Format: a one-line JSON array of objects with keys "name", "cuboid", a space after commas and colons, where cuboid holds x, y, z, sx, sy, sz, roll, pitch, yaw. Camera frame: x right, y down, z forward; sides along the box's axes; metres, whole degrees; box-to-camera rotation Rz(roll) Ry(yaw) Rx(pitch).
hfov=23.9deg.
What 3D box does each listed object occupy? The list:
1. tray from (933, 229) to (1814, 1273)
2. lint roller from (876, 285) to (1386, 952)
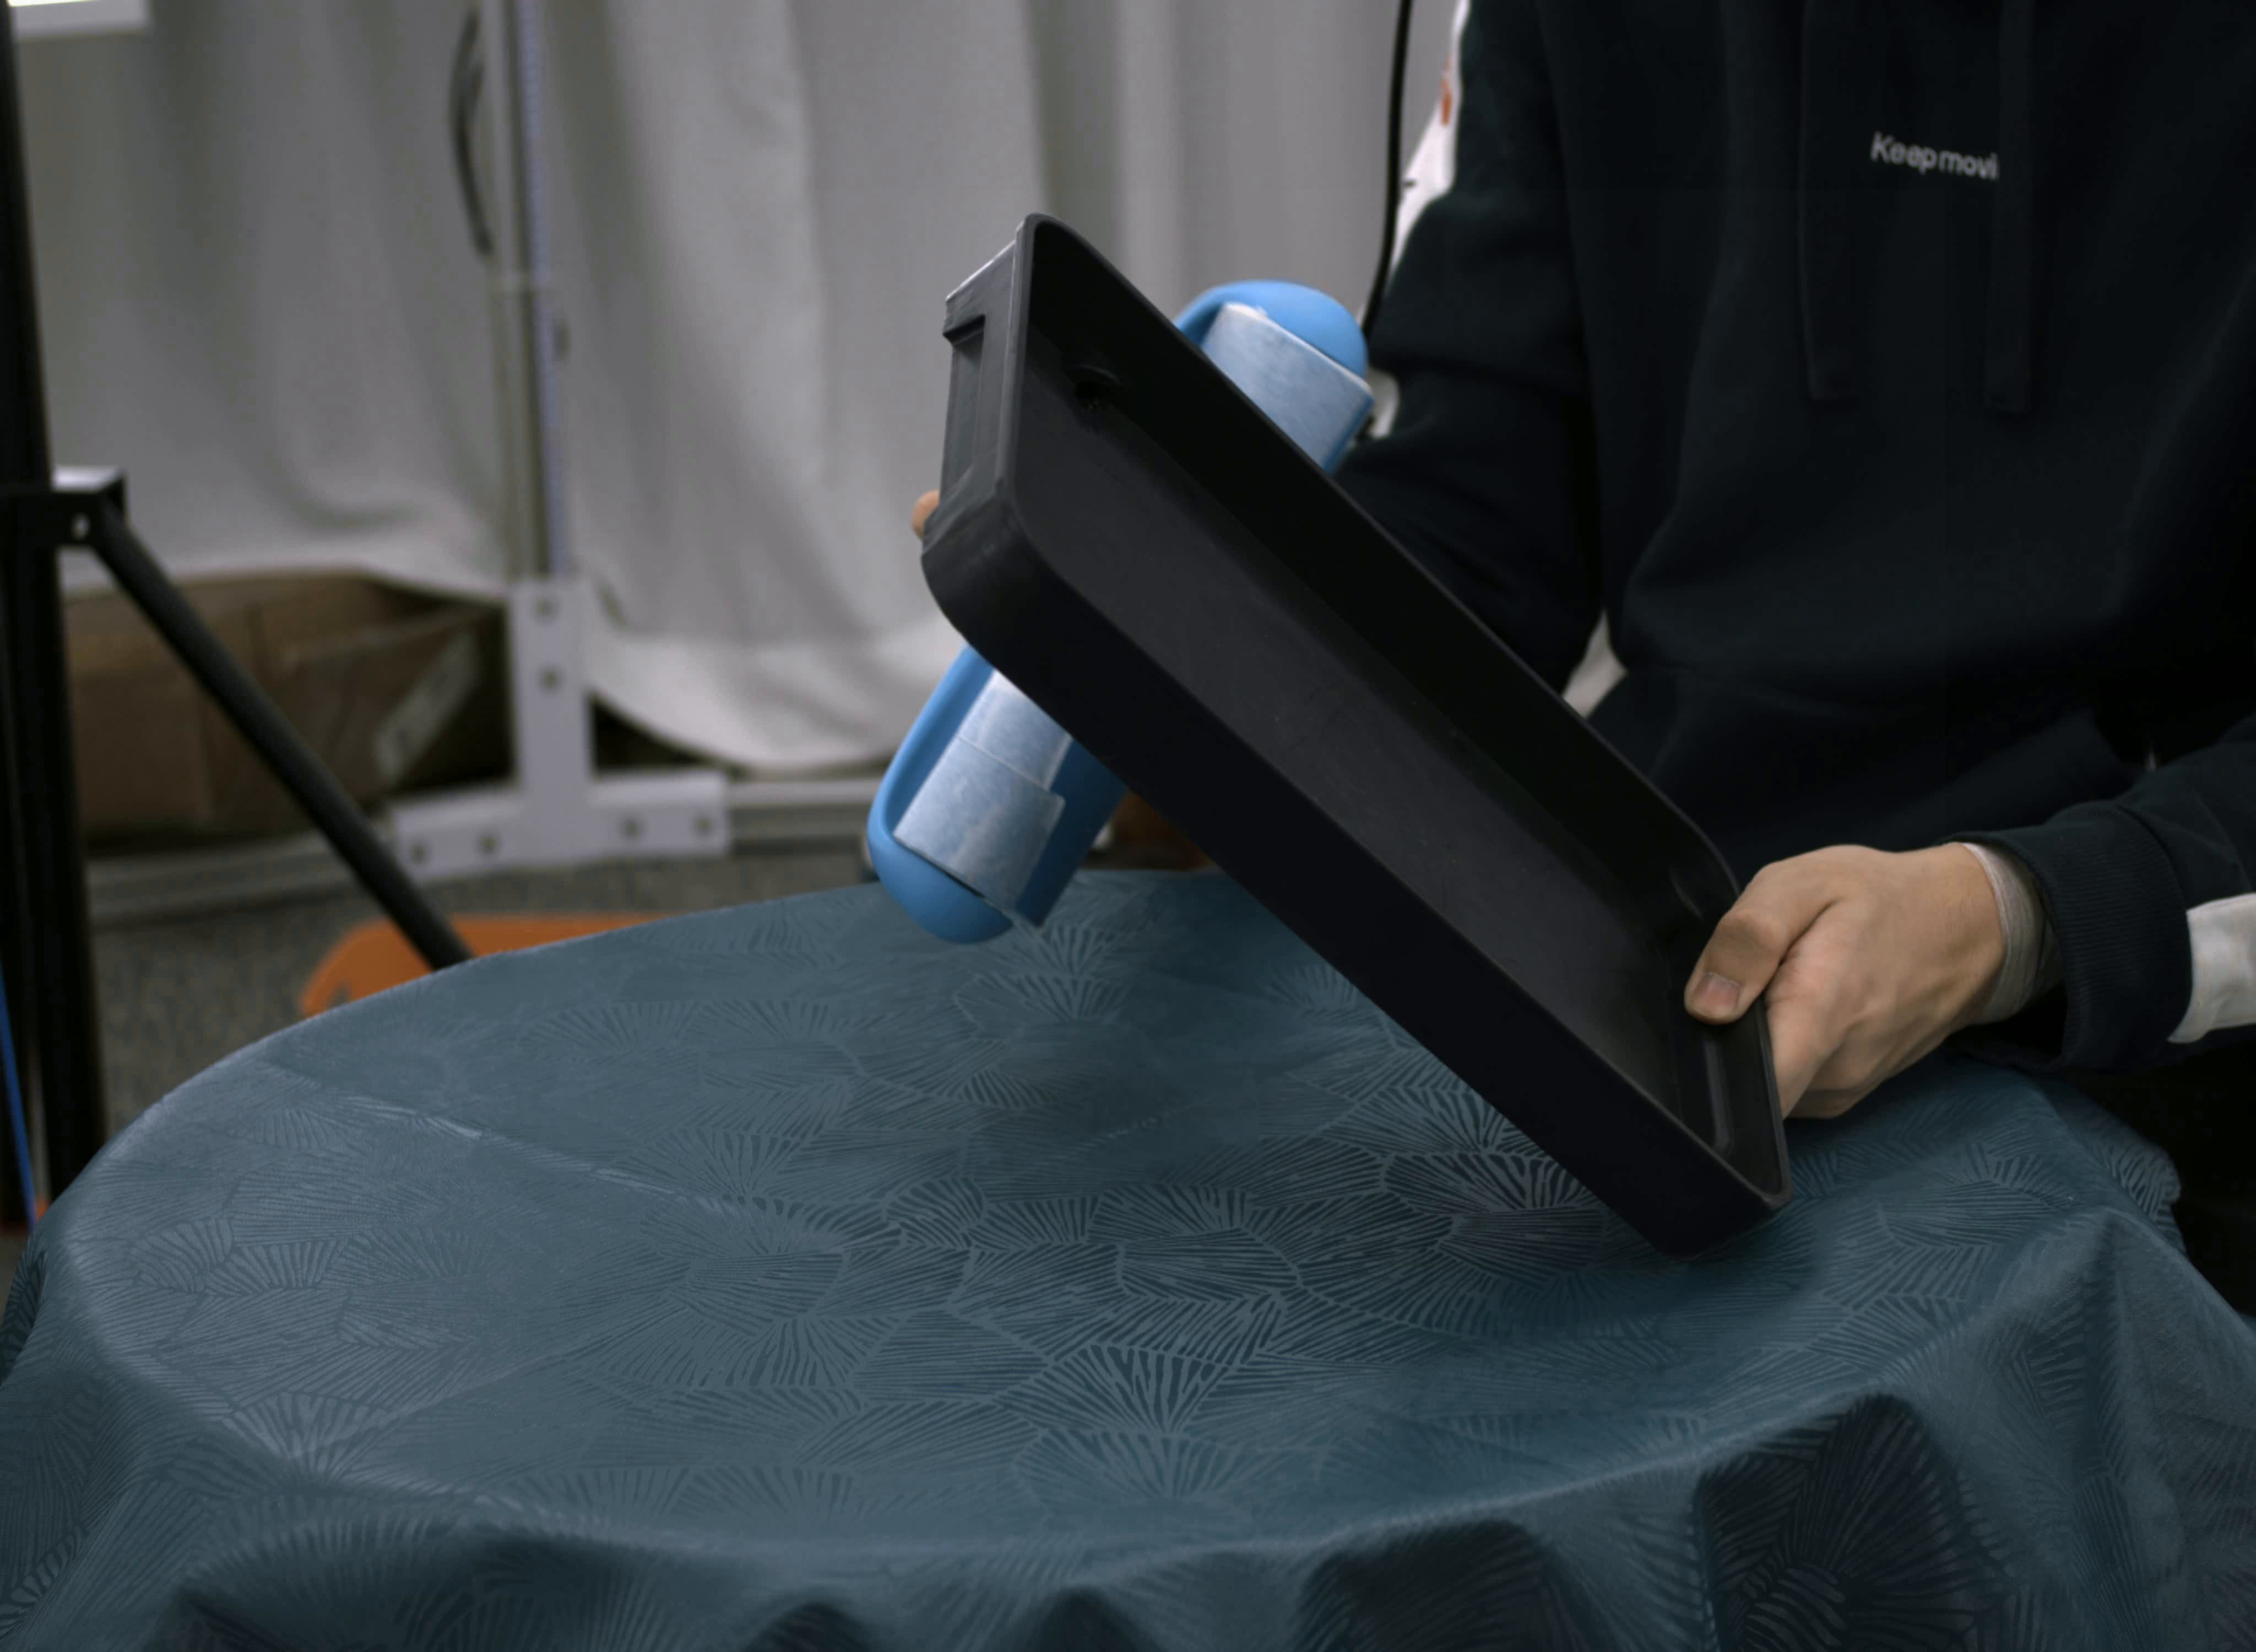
[{"name": "tray", "cuboid": [0.069, -0.019, 1.482, 0.037, 0.312, 0.186, -40, 25, 23]}, {"name": "lint roller", "cuboid": [-0.006, -0.063, 1.675, 0.067, 0.229, 0.181, 32, -4, -8]}]
